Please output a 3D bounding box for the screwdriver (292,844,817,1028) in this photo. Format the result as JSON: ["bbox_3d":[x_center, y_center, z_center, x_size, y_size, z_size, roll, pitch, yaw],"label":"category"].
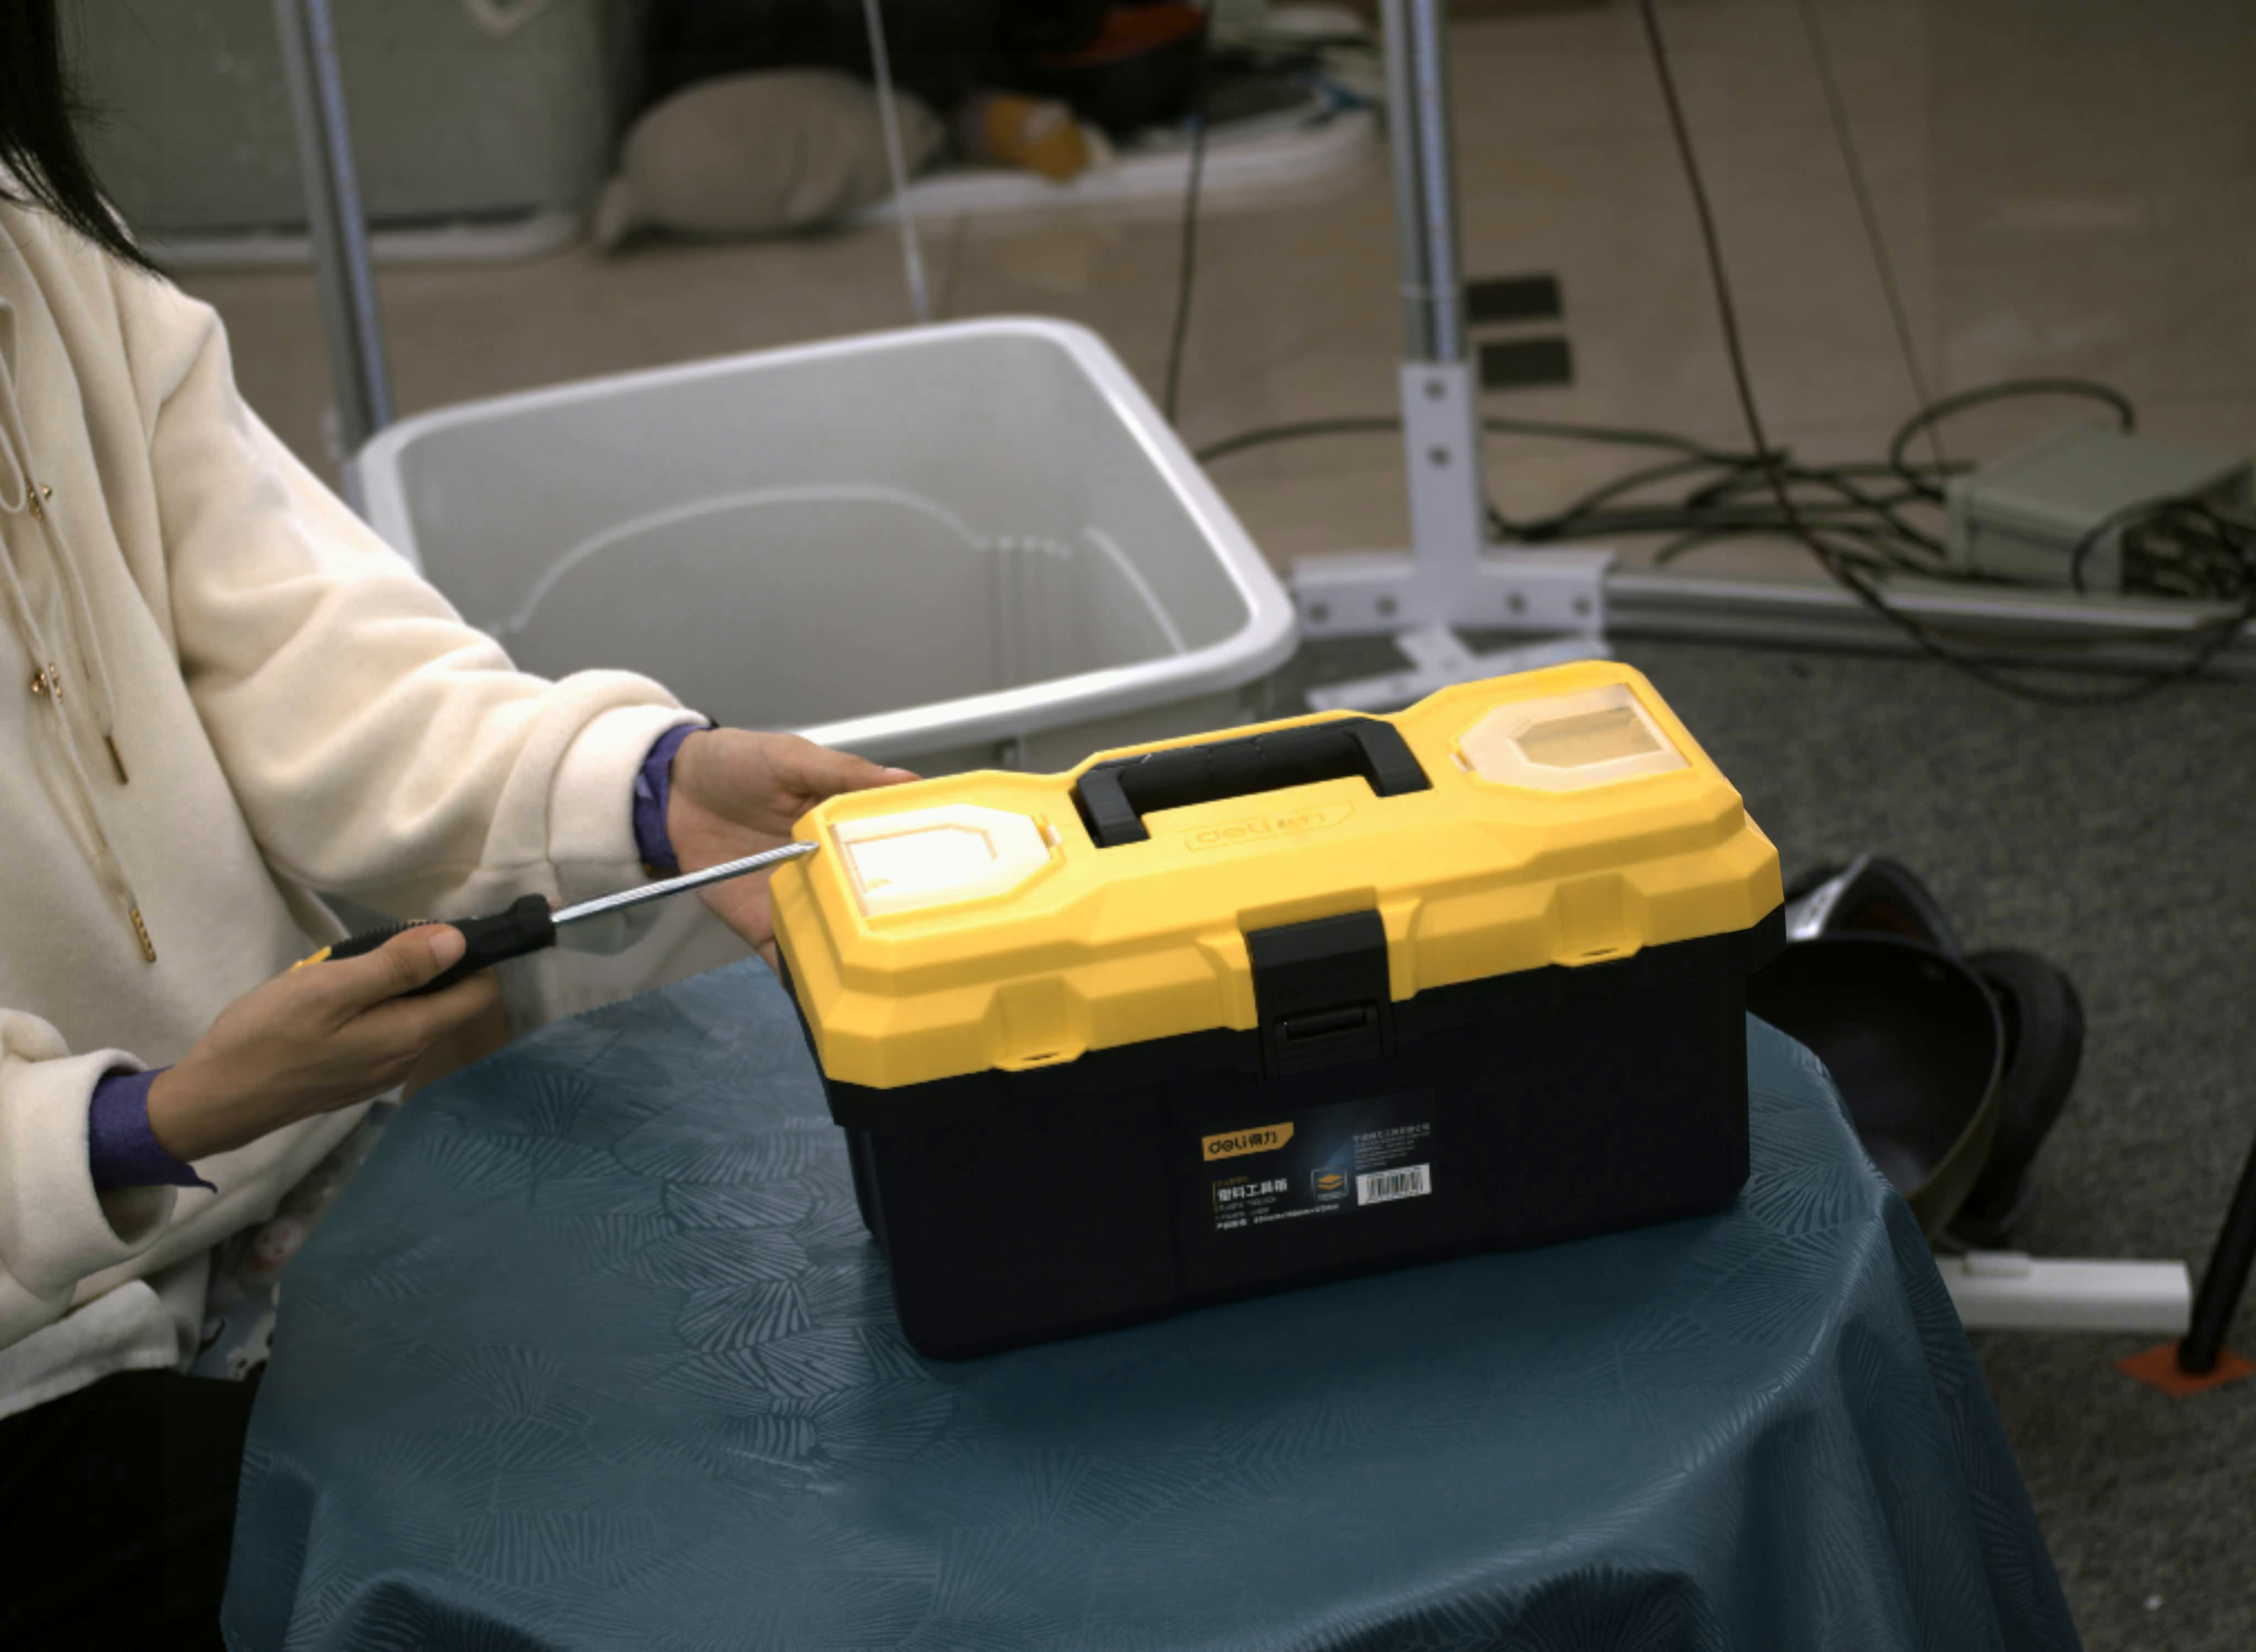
[{"bbox_3d":[-0.205,0.038,2.044,0.196,0.032,0.031,-14,26,-4],"label":"screwdriver"}]

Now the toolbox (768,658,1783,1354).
[{"bbox_3d":[0.055,0.066,2.082,0.351,0.175,0.179,-10,25,-8],"label":"toolbox"}]
